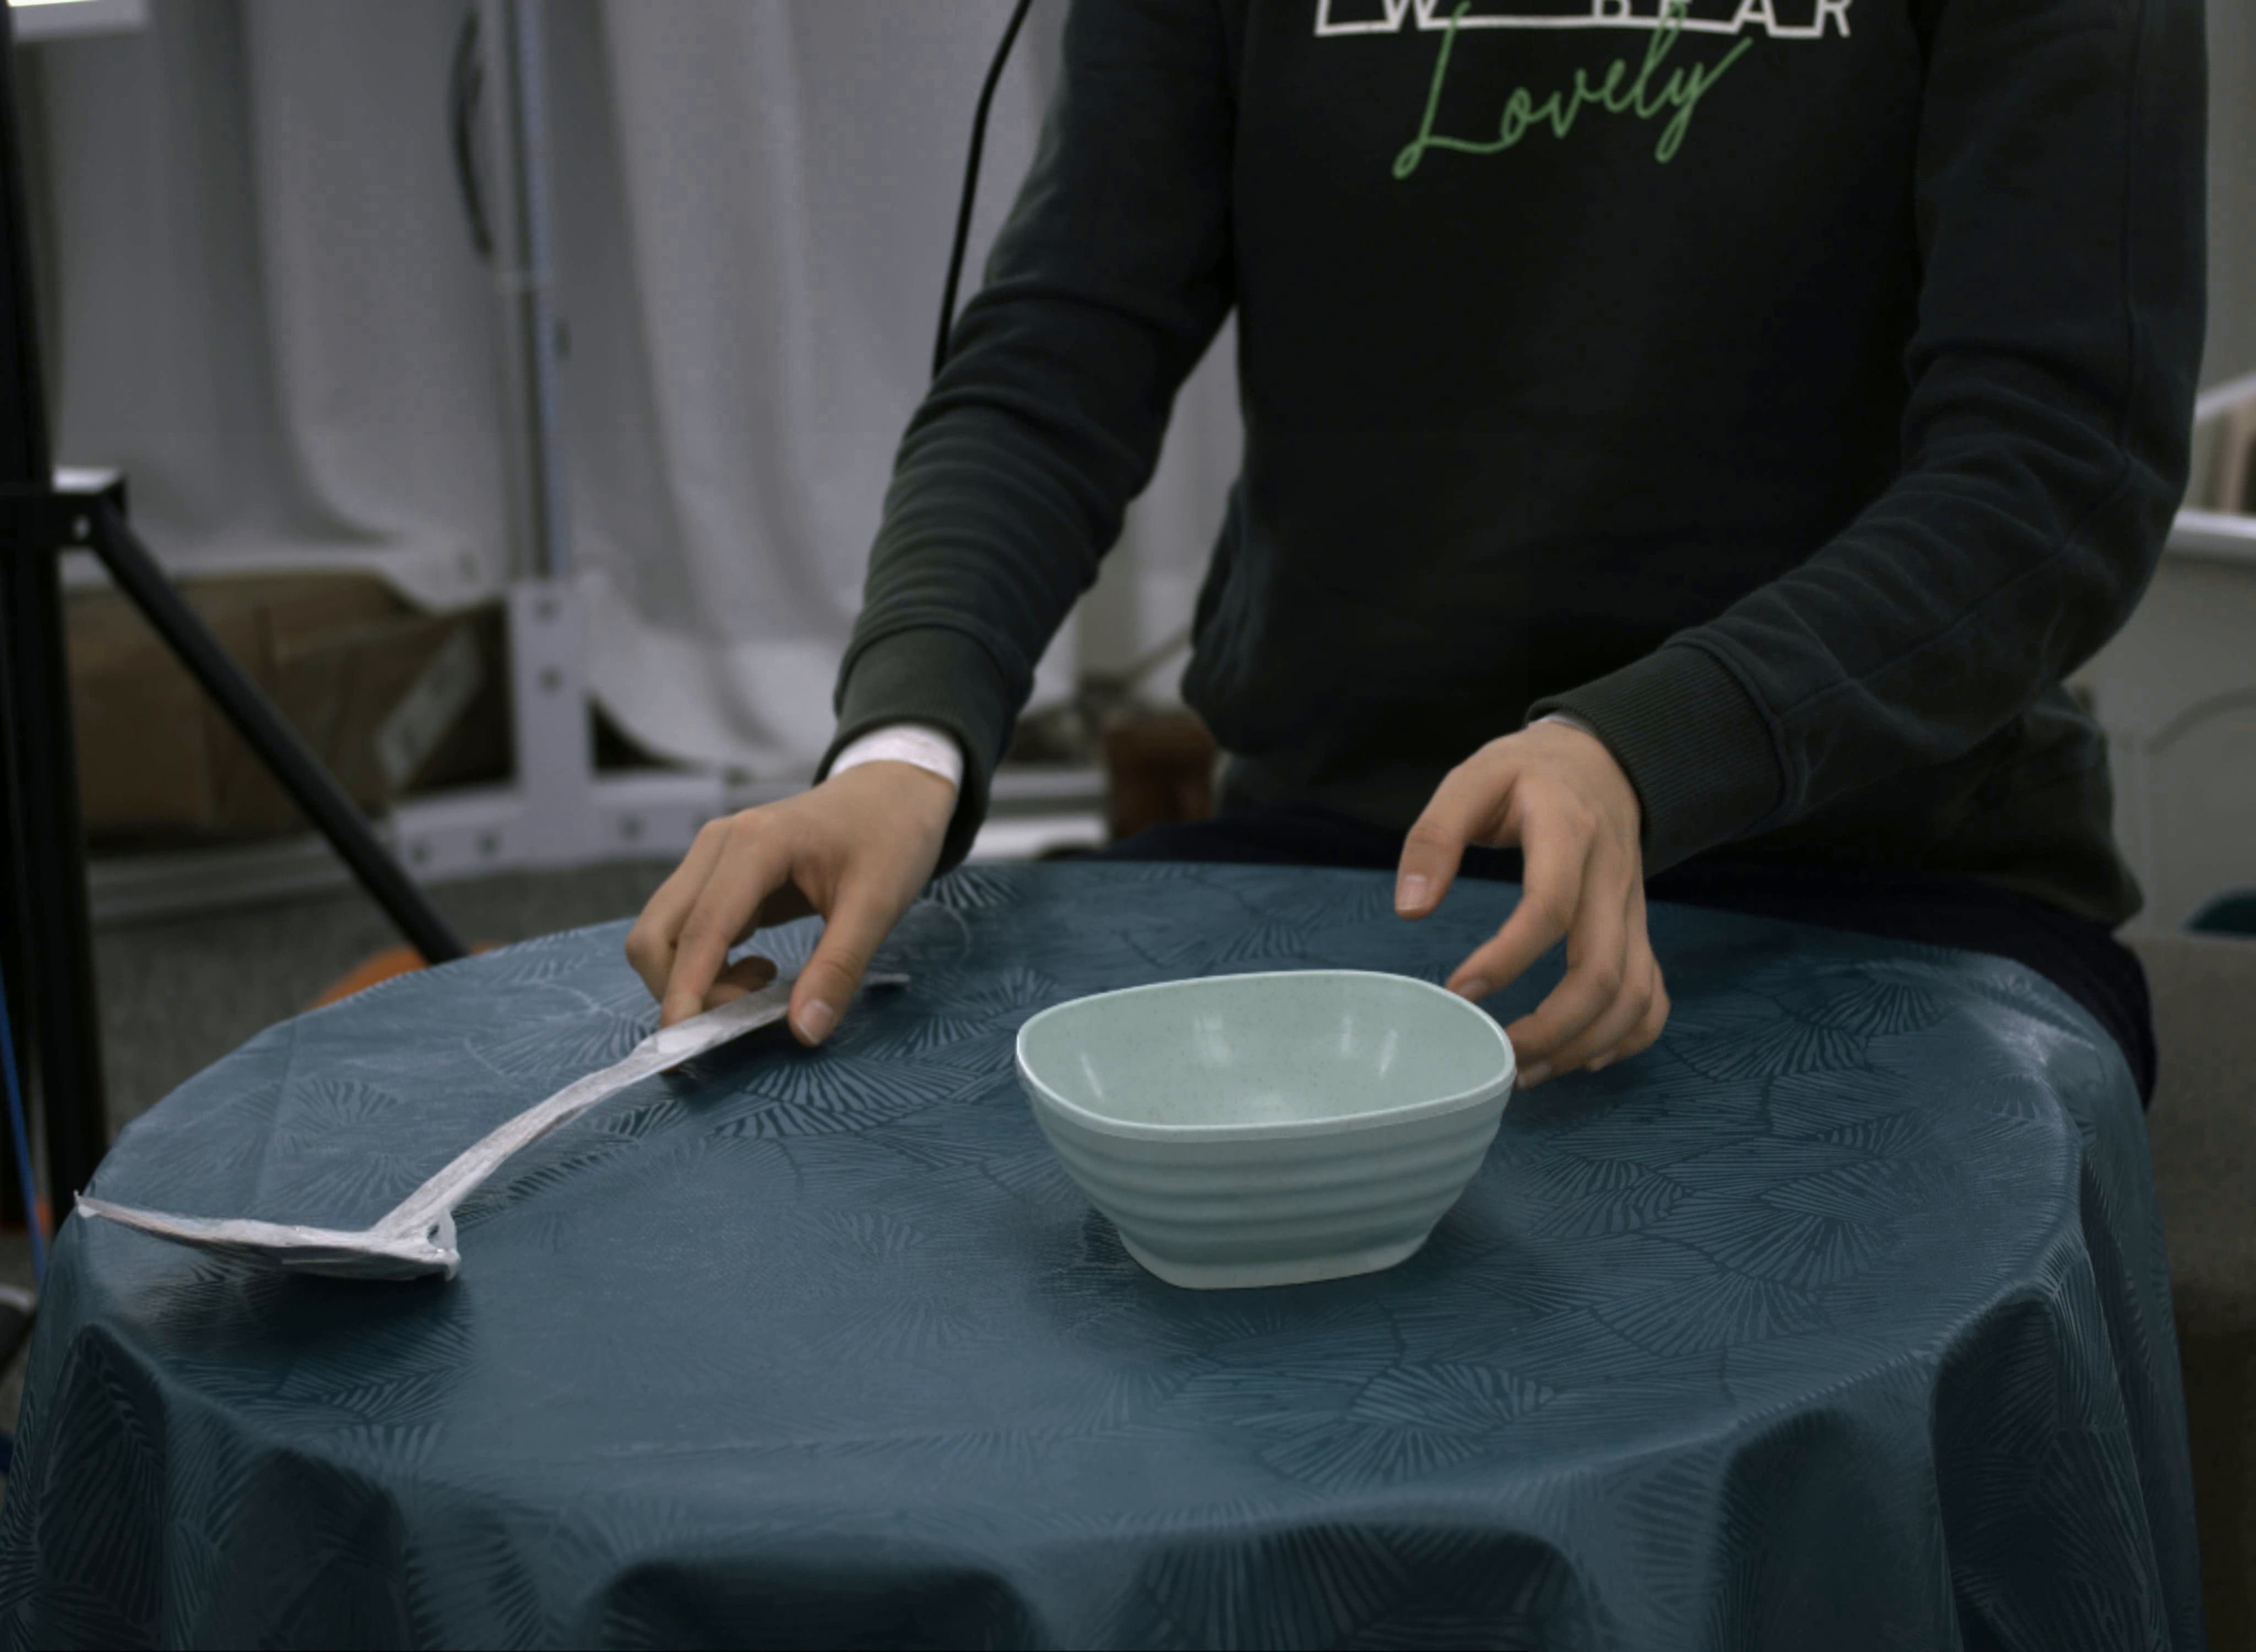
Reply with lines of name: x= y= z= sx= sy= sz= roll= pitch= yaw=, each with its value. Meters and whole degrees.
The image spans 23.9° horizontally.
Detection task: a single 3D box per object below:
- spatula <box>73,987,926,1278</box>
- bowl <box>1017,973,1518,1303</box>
spatula: x=-0.168 y=0.082 z=1.606 sx=0.100 sy=0.045 sz=0.358 roll=4 pitch=17 yaw=31
bowl: x=0.040 y=0.092 z=1.513 sx=0.150 sy=0.058 sz=0.152 roll=-2 pitch=17 yaw=-1
